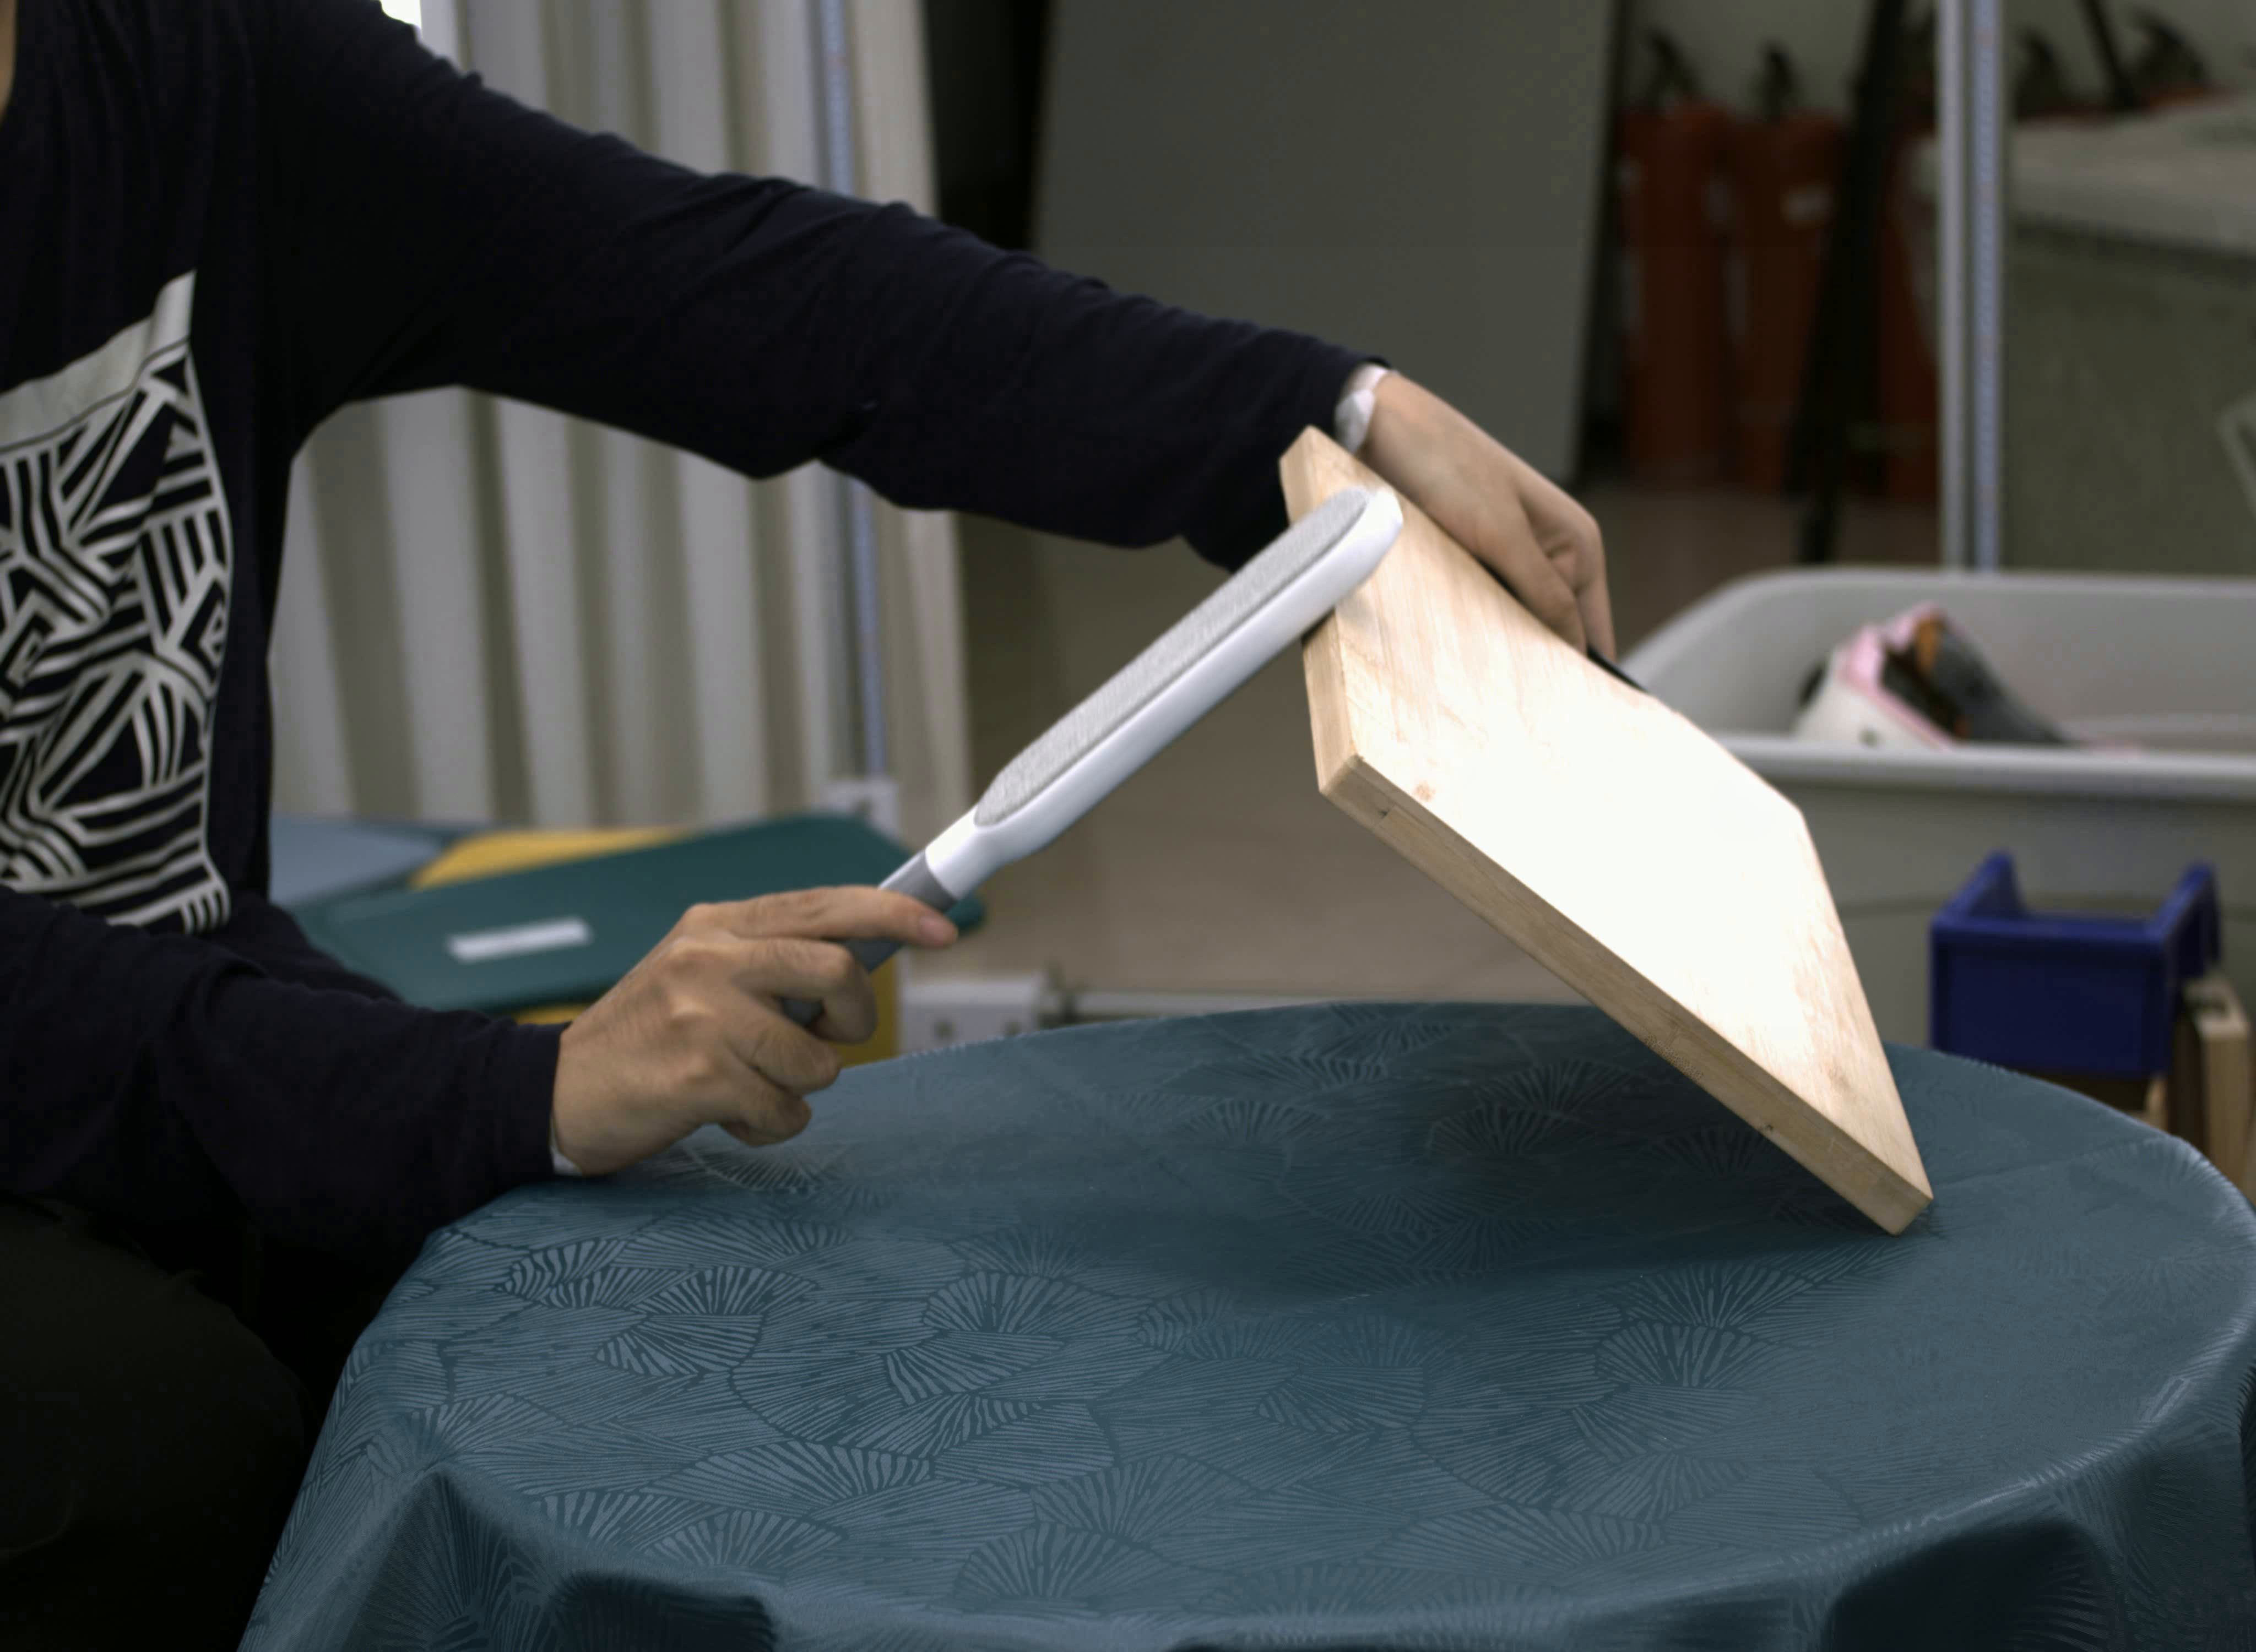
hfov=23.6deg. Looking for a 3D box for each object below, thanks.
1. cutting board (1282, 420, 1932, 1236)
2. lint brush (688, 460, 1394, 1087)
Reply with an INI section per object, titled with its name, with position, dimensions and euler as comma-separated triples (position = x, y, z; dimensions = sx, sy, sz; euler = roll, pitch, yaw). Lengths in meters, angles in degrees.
[cutting board]
position = 0.153, -0.009, 1.813
dimensions = 0.248, 0.024, 0.349
euler = 38, 16, -13
[lint brush]
position = -0.030, -0.016, 1.797
dimensions = 0.309, 0.021, 0.060
euler = -41, 21, 11
